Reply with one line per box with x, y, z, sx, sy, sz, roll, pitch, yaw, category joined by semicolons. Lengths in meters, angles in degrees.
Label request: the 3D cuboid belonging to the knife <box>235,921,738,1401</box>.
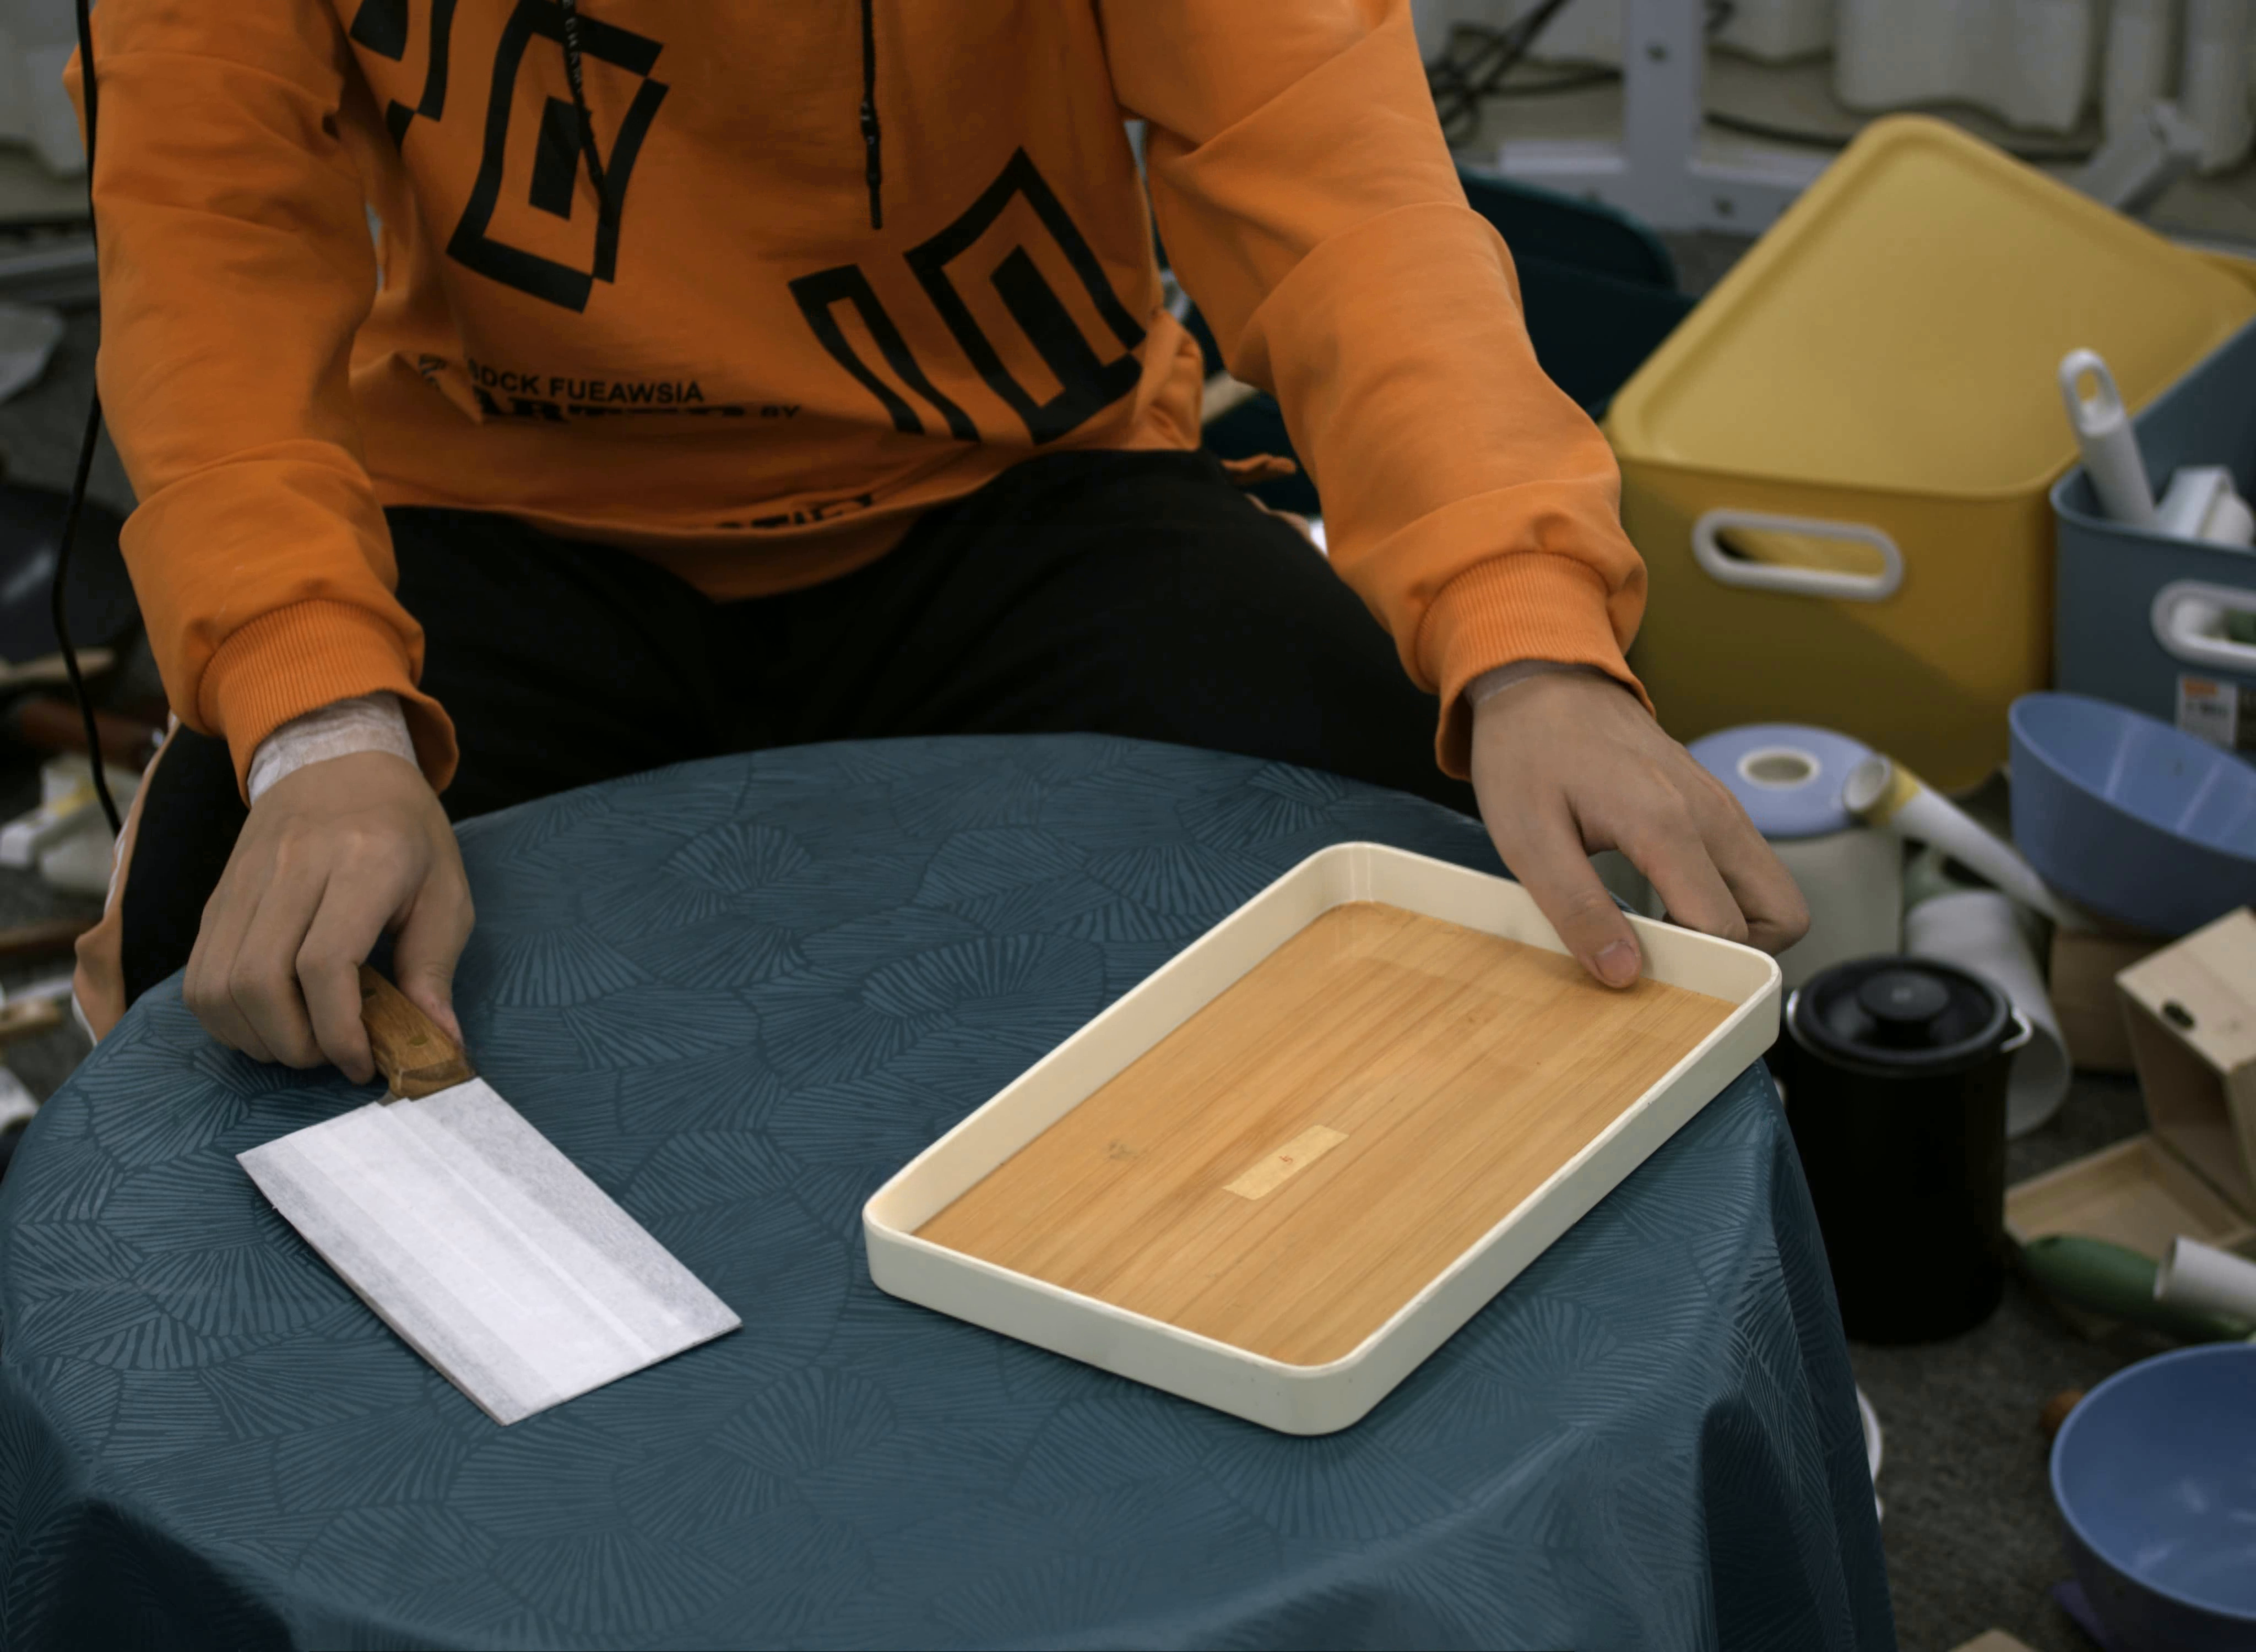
-0.242;0.113;1.886;0.093;0.021;0.307;-21;35;-27;knife

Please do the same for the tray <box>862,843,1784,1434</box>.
0.069;0.098;1.872;0.190;0.027;0.305;15;33;31;tray
